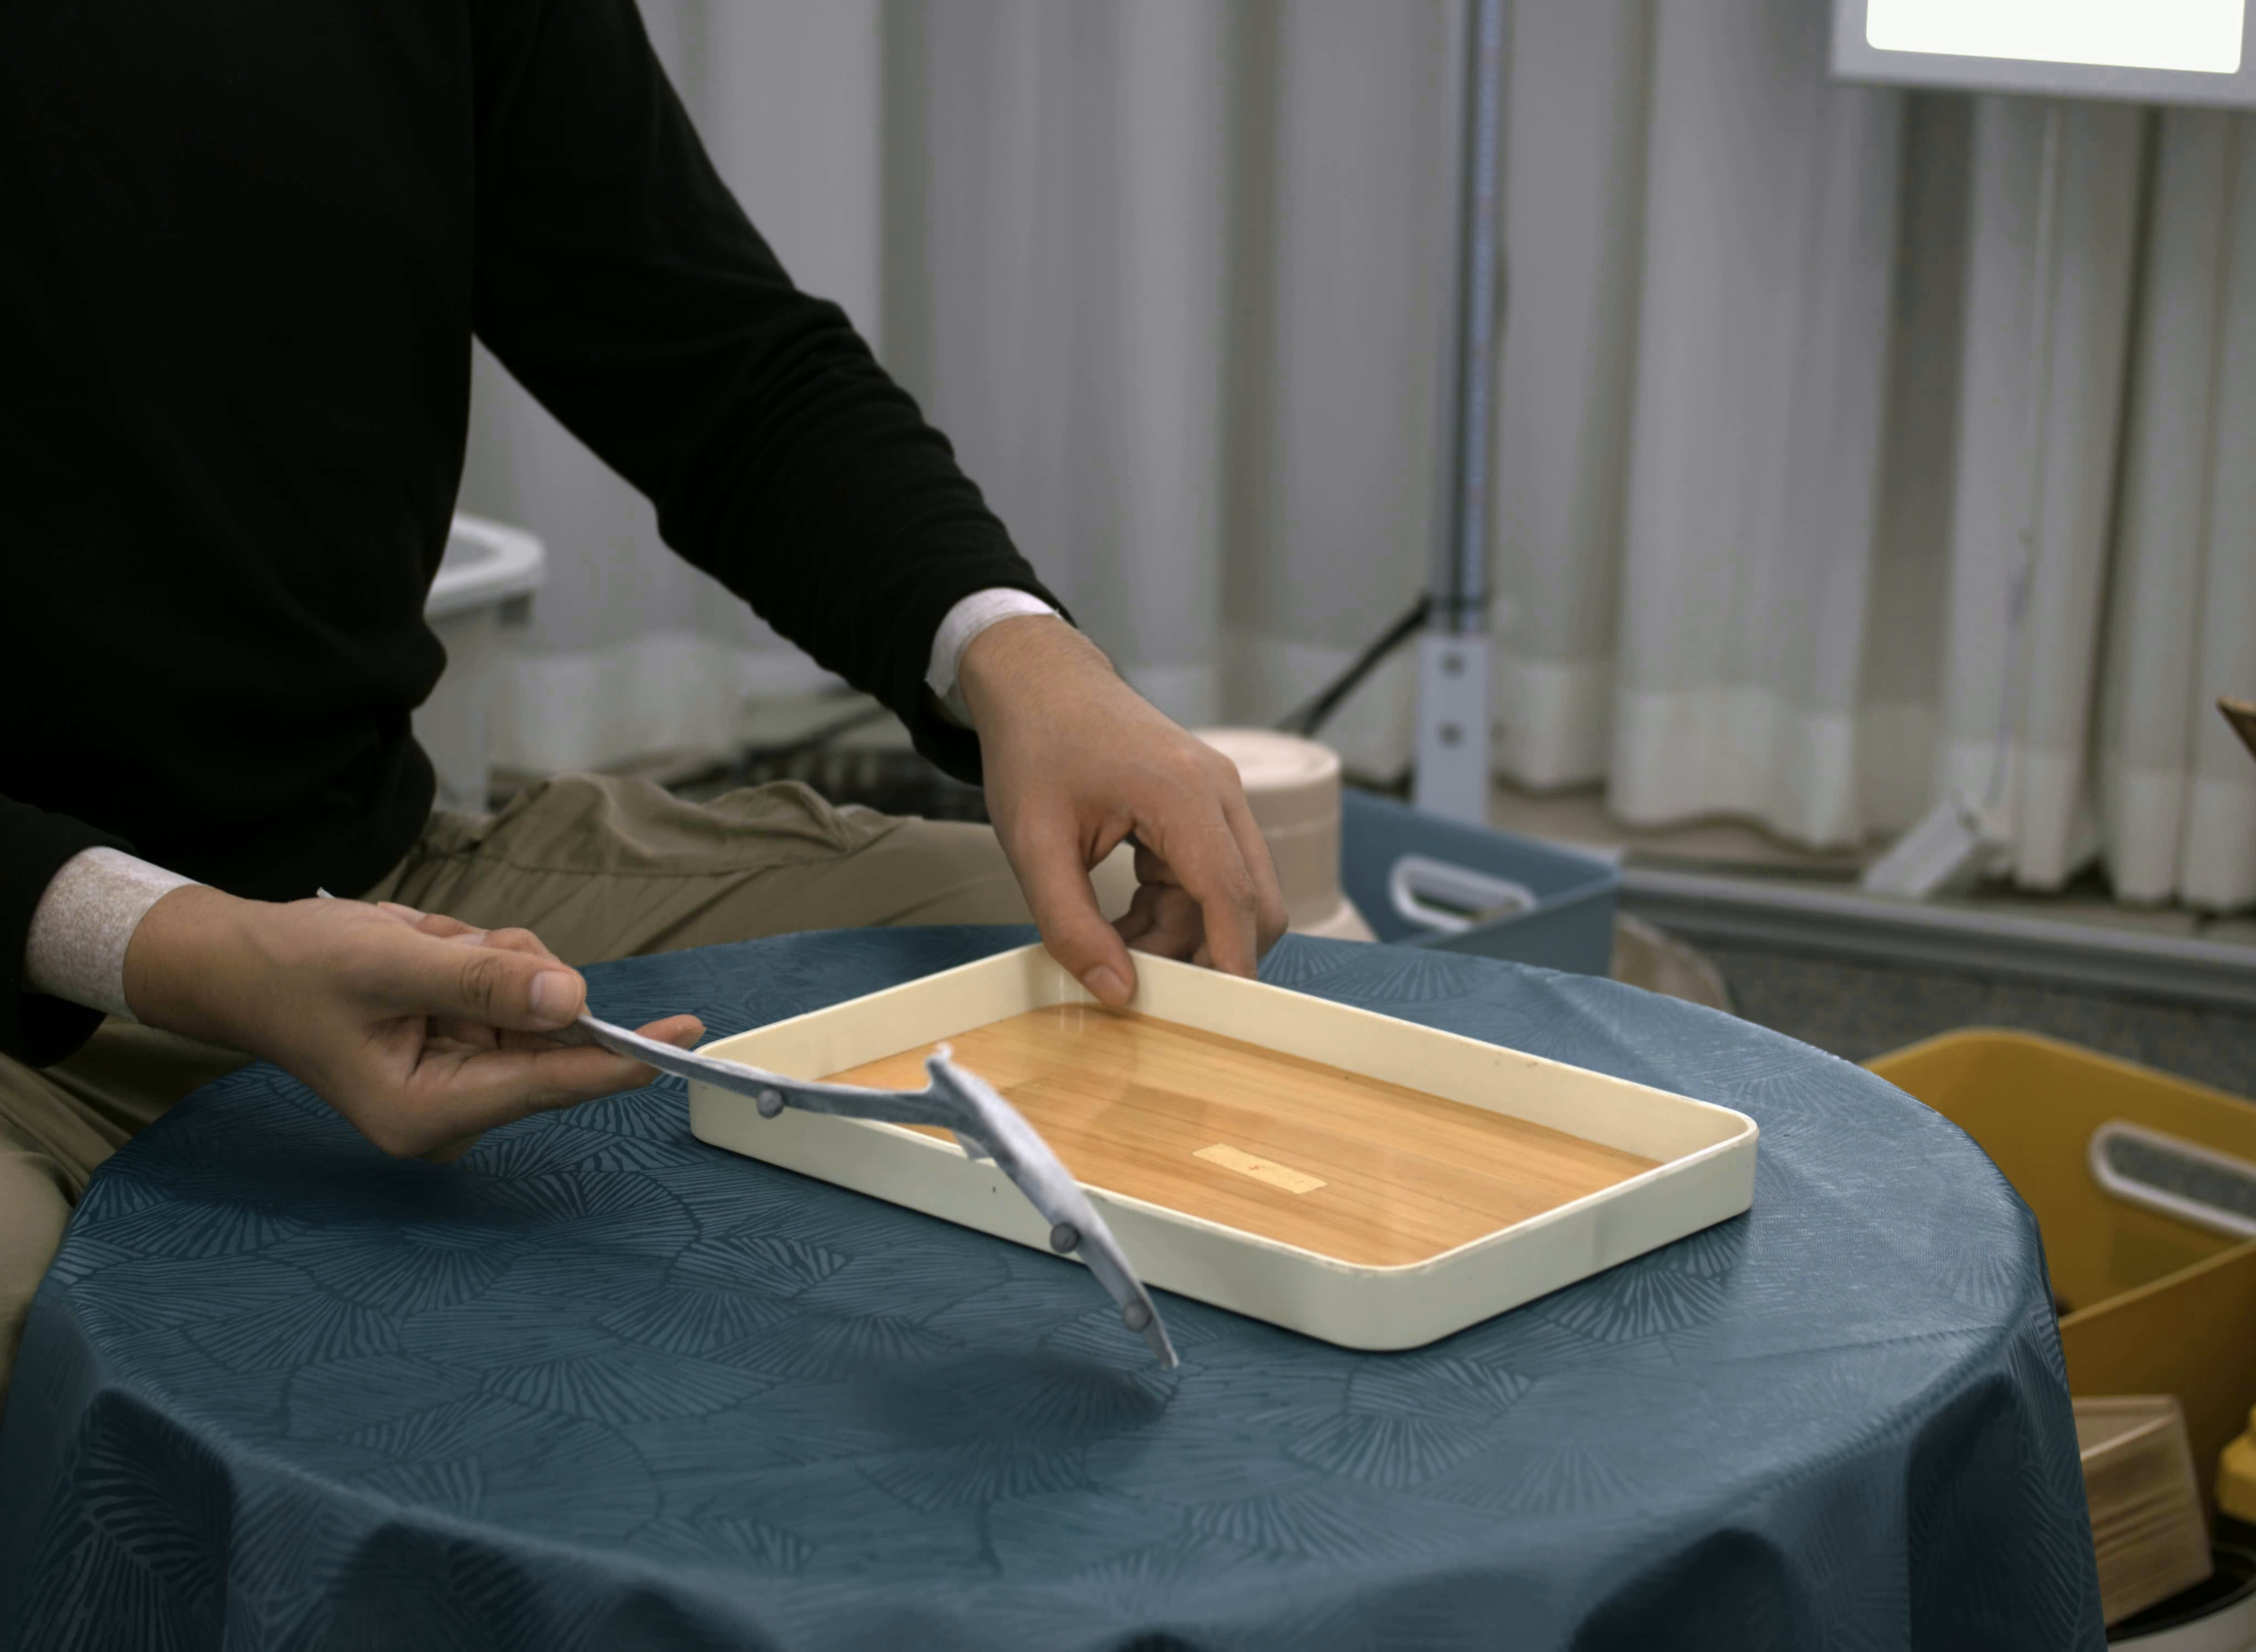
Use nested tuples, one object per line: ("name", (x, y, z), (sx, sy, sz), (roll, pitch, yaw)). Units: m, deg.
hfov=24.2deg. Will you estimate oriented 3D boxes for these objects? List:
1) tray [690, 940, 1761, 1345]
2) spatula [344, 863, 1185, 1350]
("tray", (0.027, 0.094, 1.638), (0.296, 0.027, 0.192), (14, 20, 40))
("spatula", (-0.117, 0.067, 1.525), (0.360, 0.100, 0.045), (14, 54, 39))
